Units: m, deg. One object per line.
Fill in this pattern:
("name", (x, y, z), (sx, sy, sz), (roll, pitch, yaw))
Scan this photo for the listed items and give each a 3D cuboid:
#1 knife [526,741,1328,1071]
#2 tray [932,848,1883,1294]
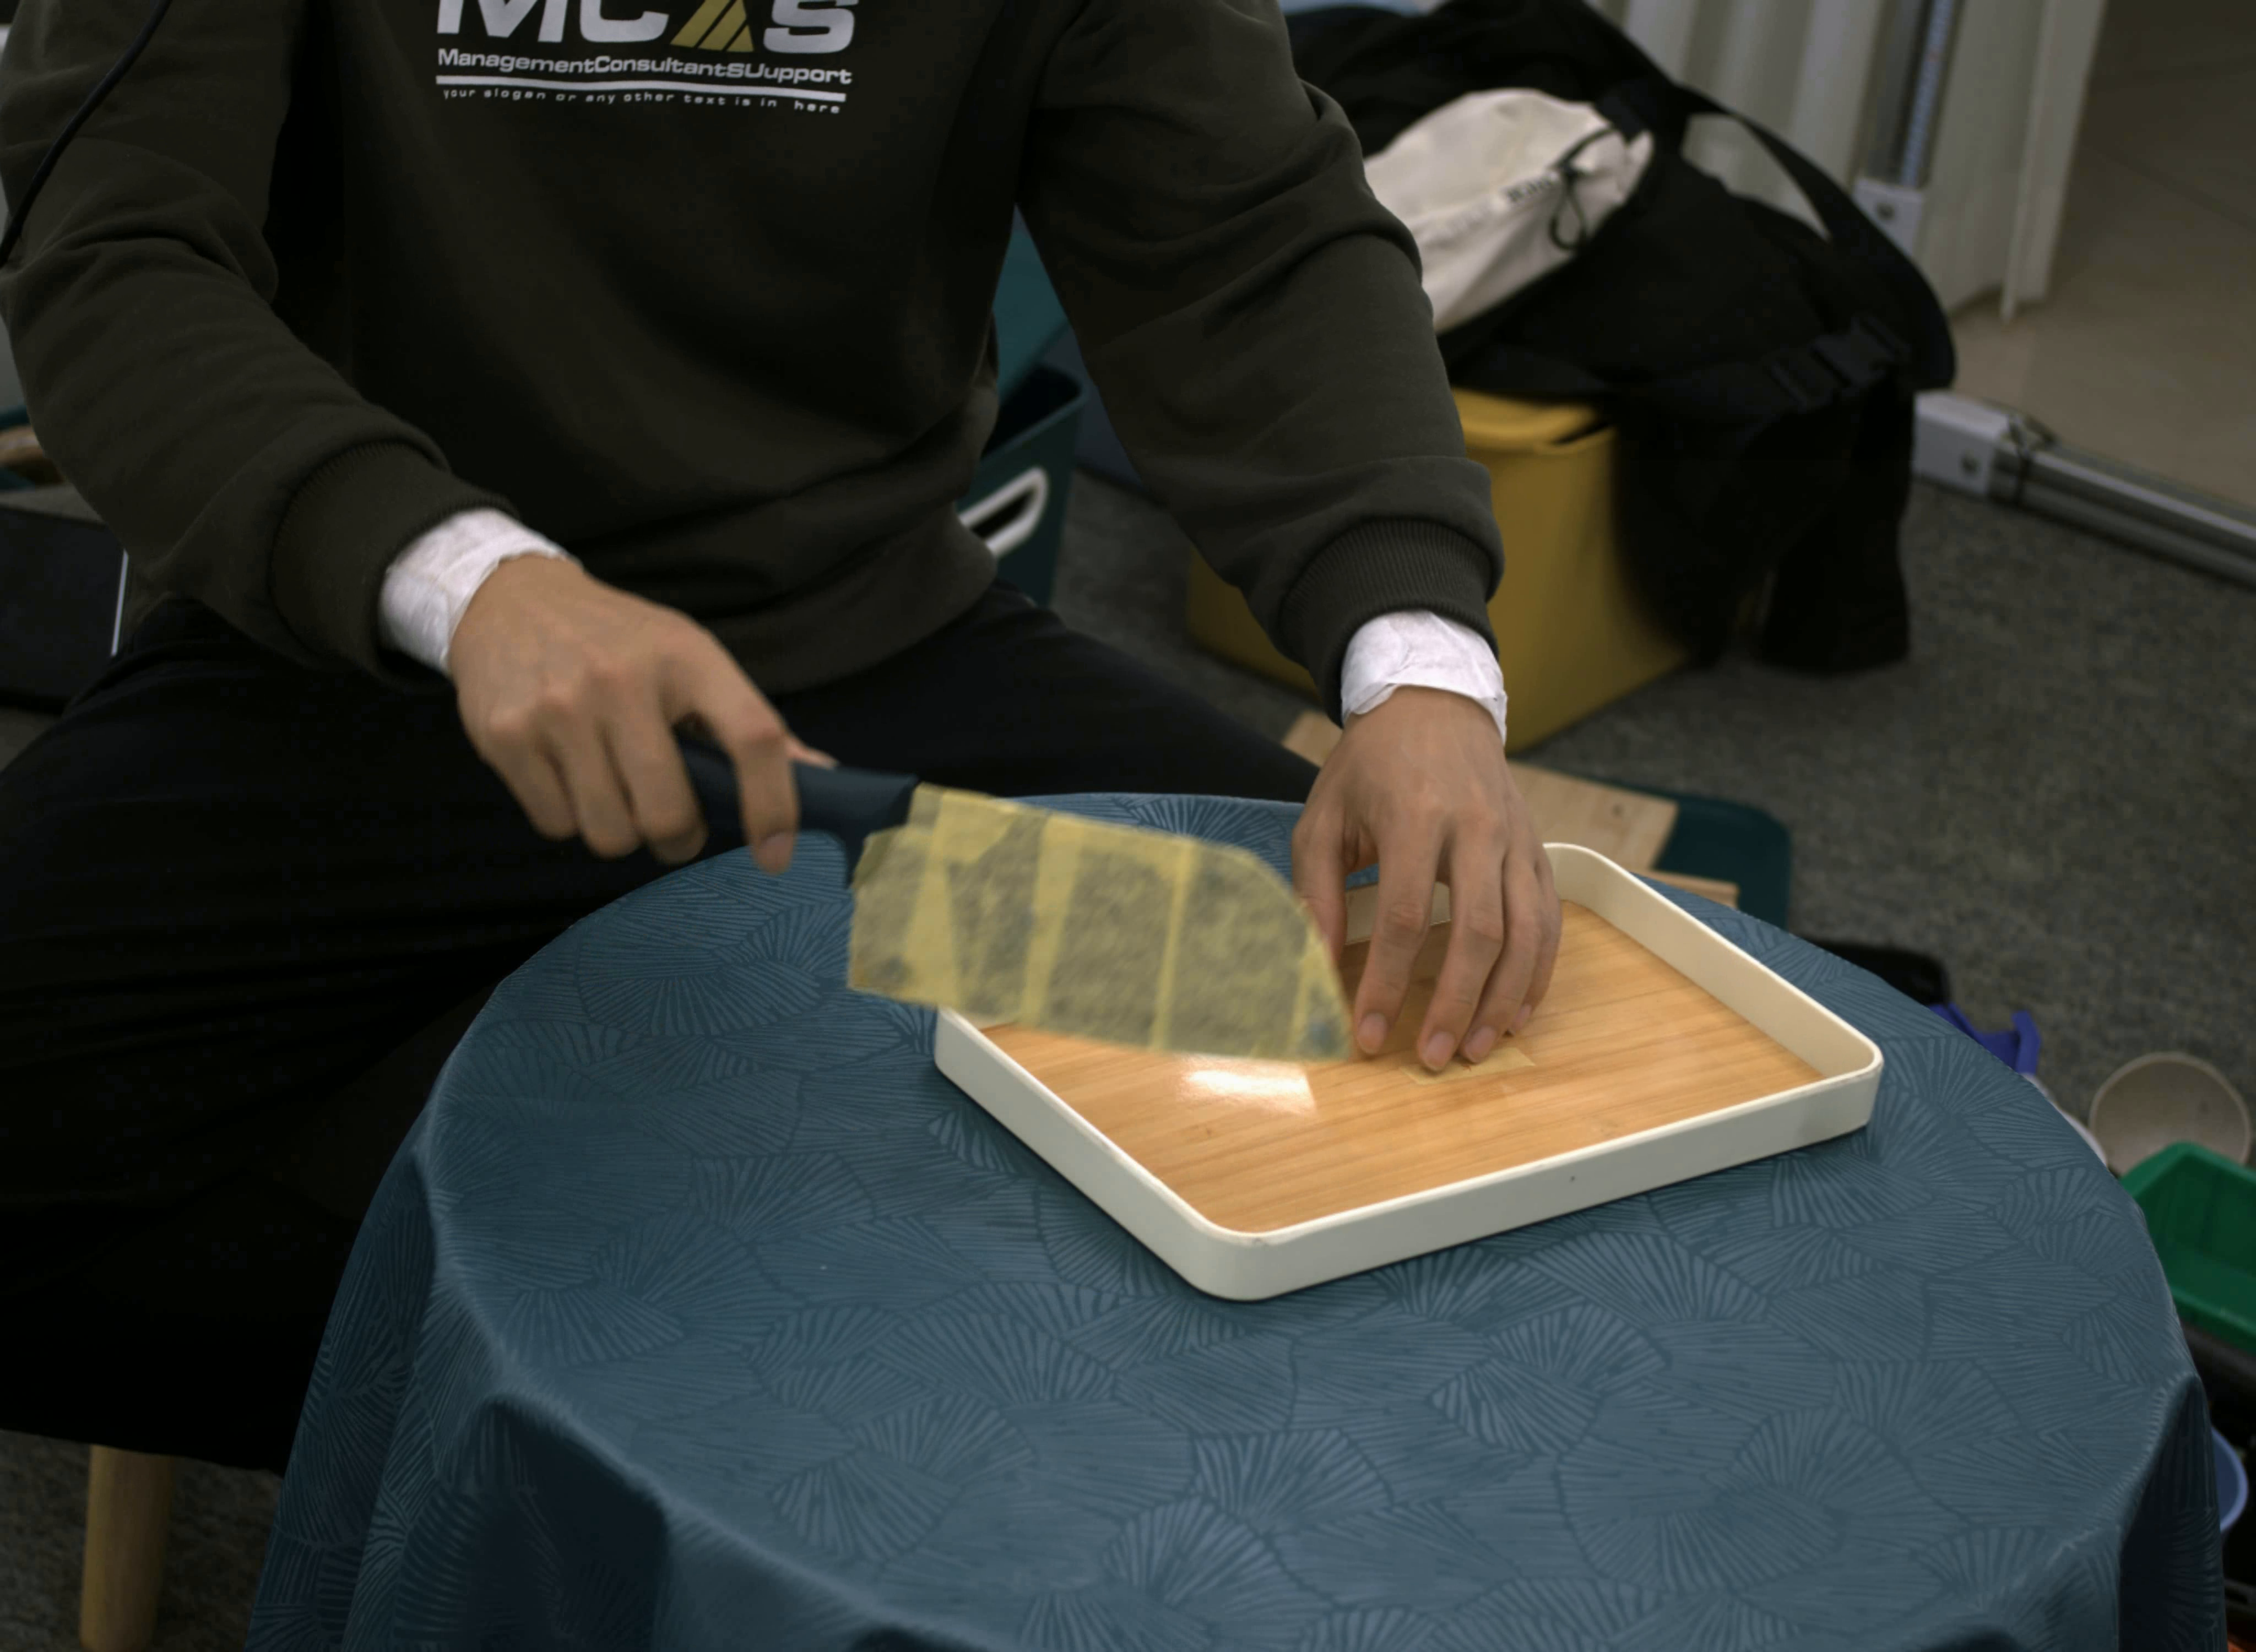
("knife", (-0.069, 0.025, 1.751), (0.290, 0.081, 0.027), (15, 7, 17))
("tray", (0.099, 0.082, 1.882), (0.298, 0.027, 0.193), (-12, 31, -33))
